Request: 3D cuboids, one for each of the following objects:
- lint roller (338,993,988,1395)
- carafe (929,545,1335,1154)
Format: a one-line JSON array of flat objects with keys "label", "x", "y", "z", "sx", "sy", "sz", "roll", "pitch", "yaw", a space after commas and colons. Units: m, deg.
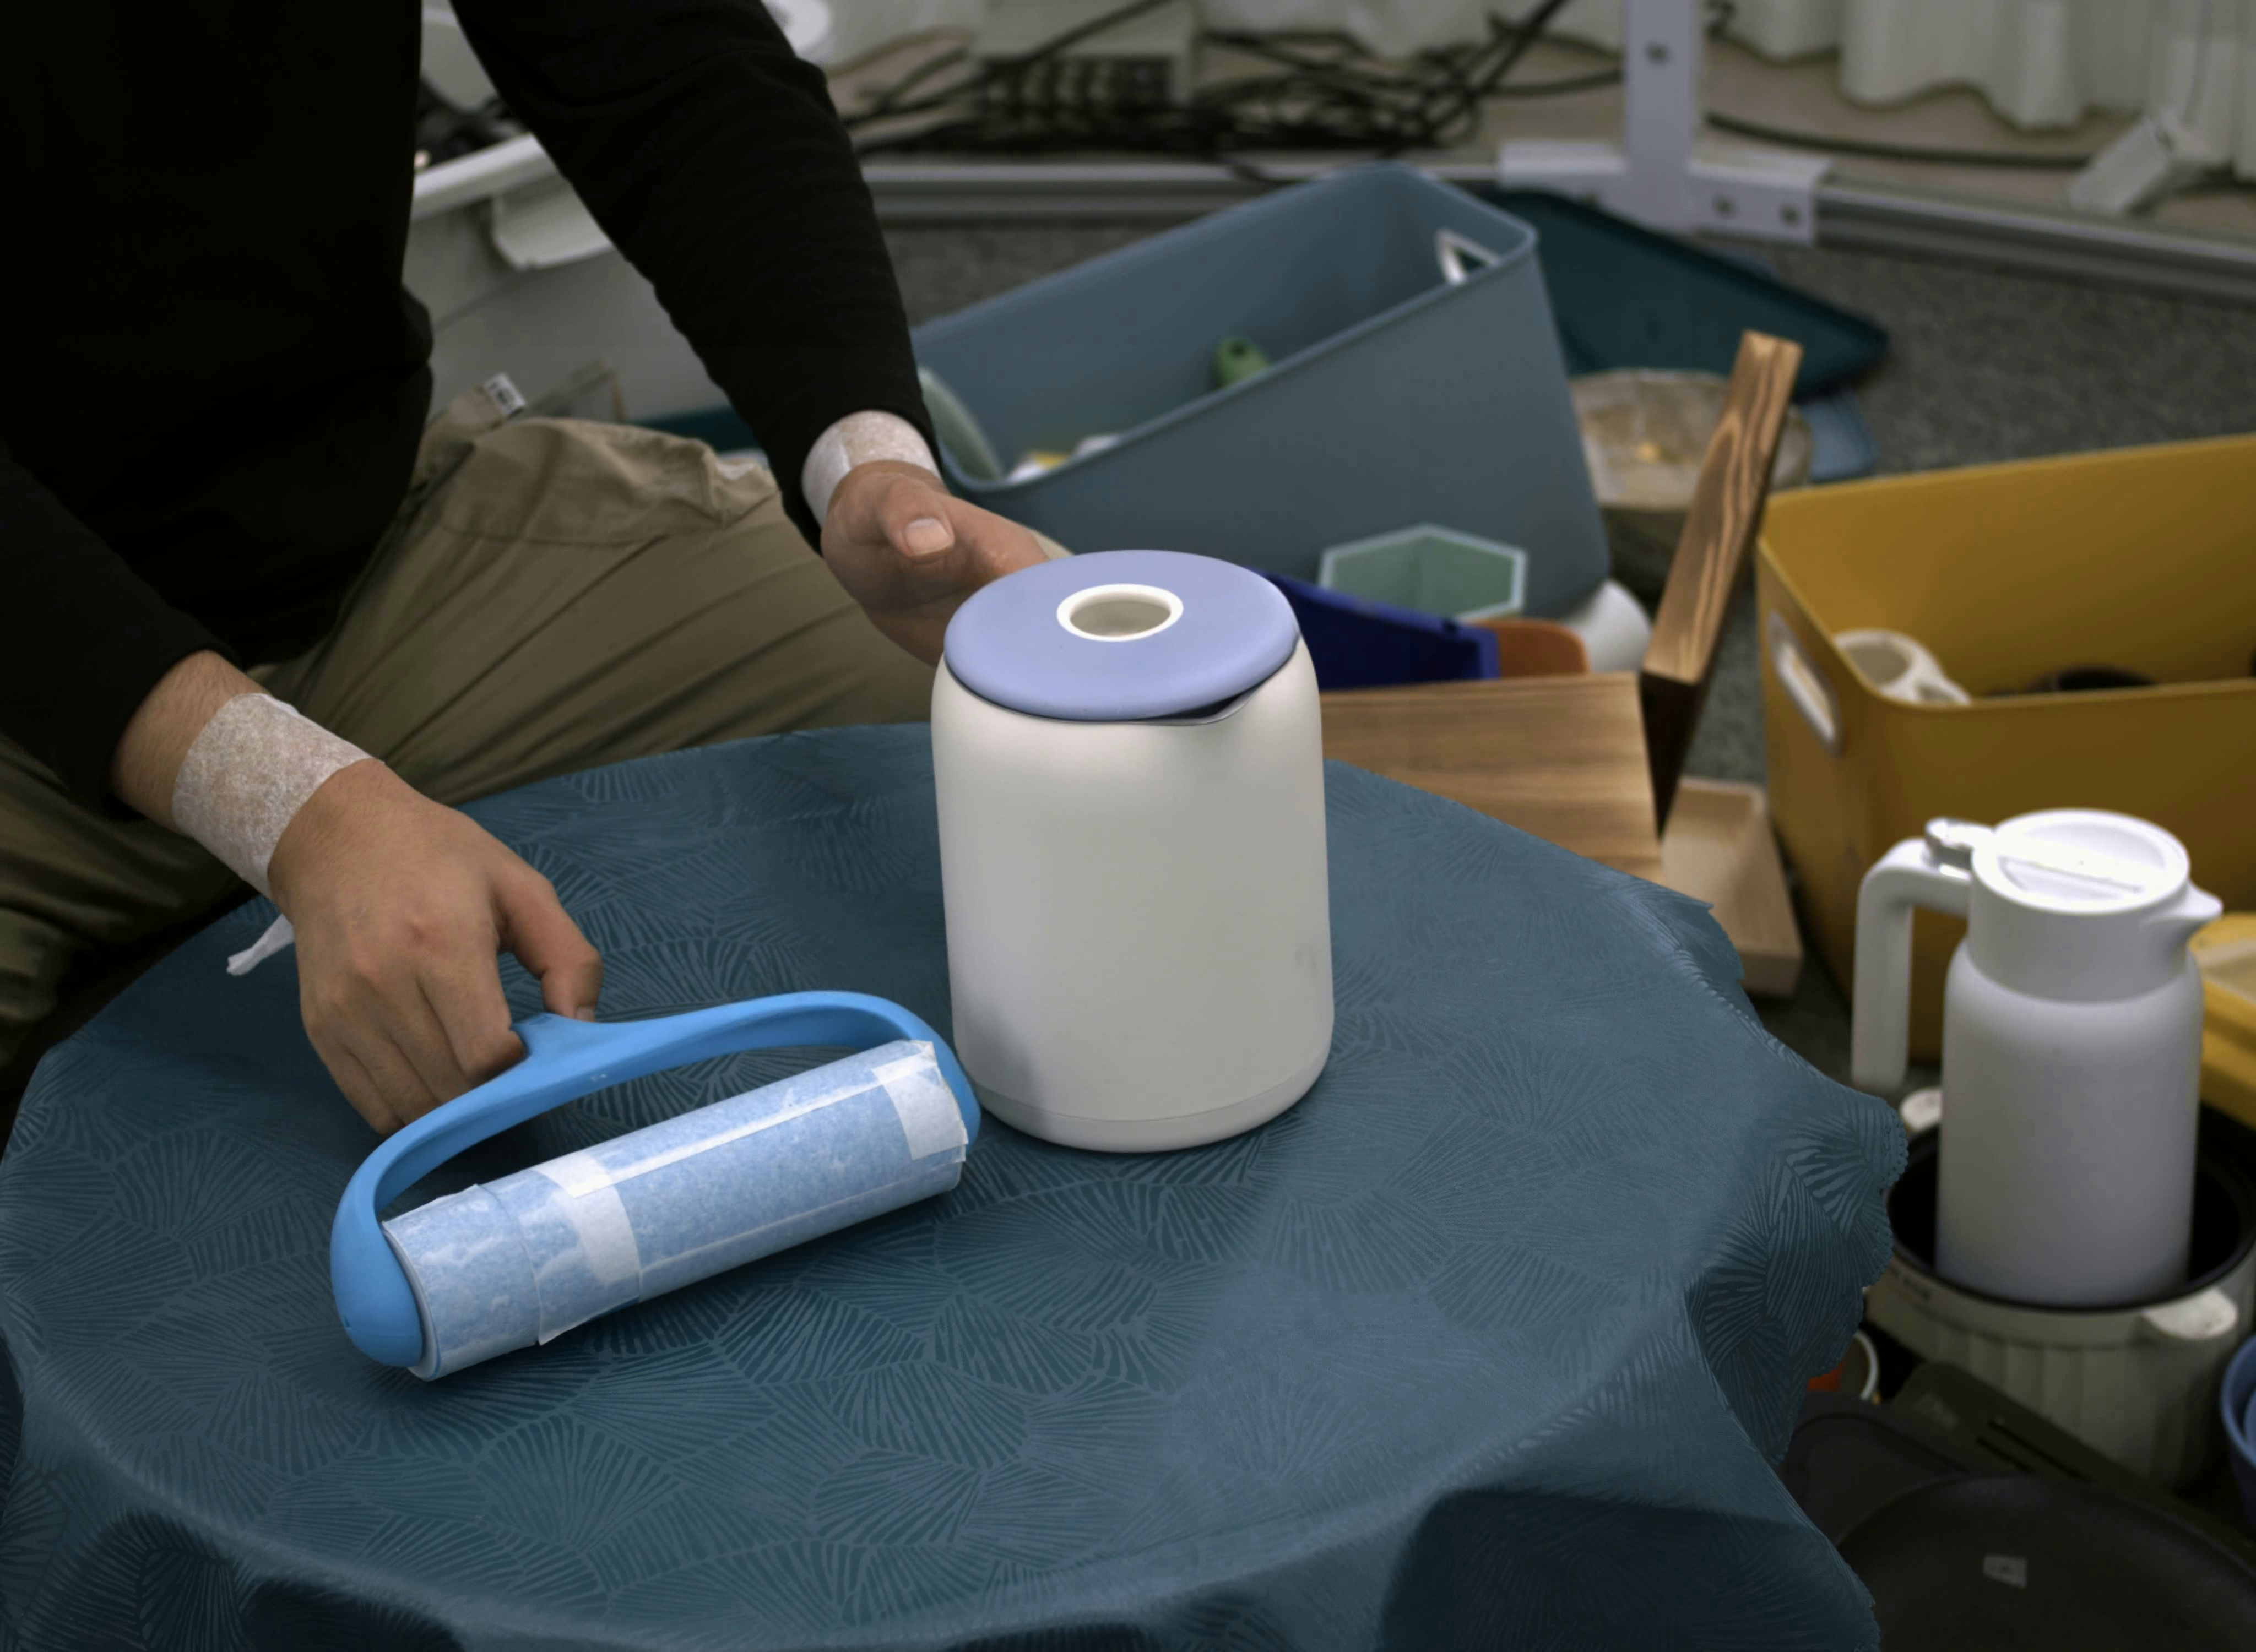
[{"label": "lint roller", "x": -0.180, "y": 0.098, "z": 1.859, "sx": 0.231, "sy": 0.067, "sz": 0.181, "roll": -22, "pitch": 39, "yaw": -27}, {"label": "carafe", "x": -0.010, "y": -0.002, "z": 1.916, "sx": 0.133, "sy": 0.181, "sz": 0.192, "roll": -16, "pitch": 27, "yaw": -25}]
